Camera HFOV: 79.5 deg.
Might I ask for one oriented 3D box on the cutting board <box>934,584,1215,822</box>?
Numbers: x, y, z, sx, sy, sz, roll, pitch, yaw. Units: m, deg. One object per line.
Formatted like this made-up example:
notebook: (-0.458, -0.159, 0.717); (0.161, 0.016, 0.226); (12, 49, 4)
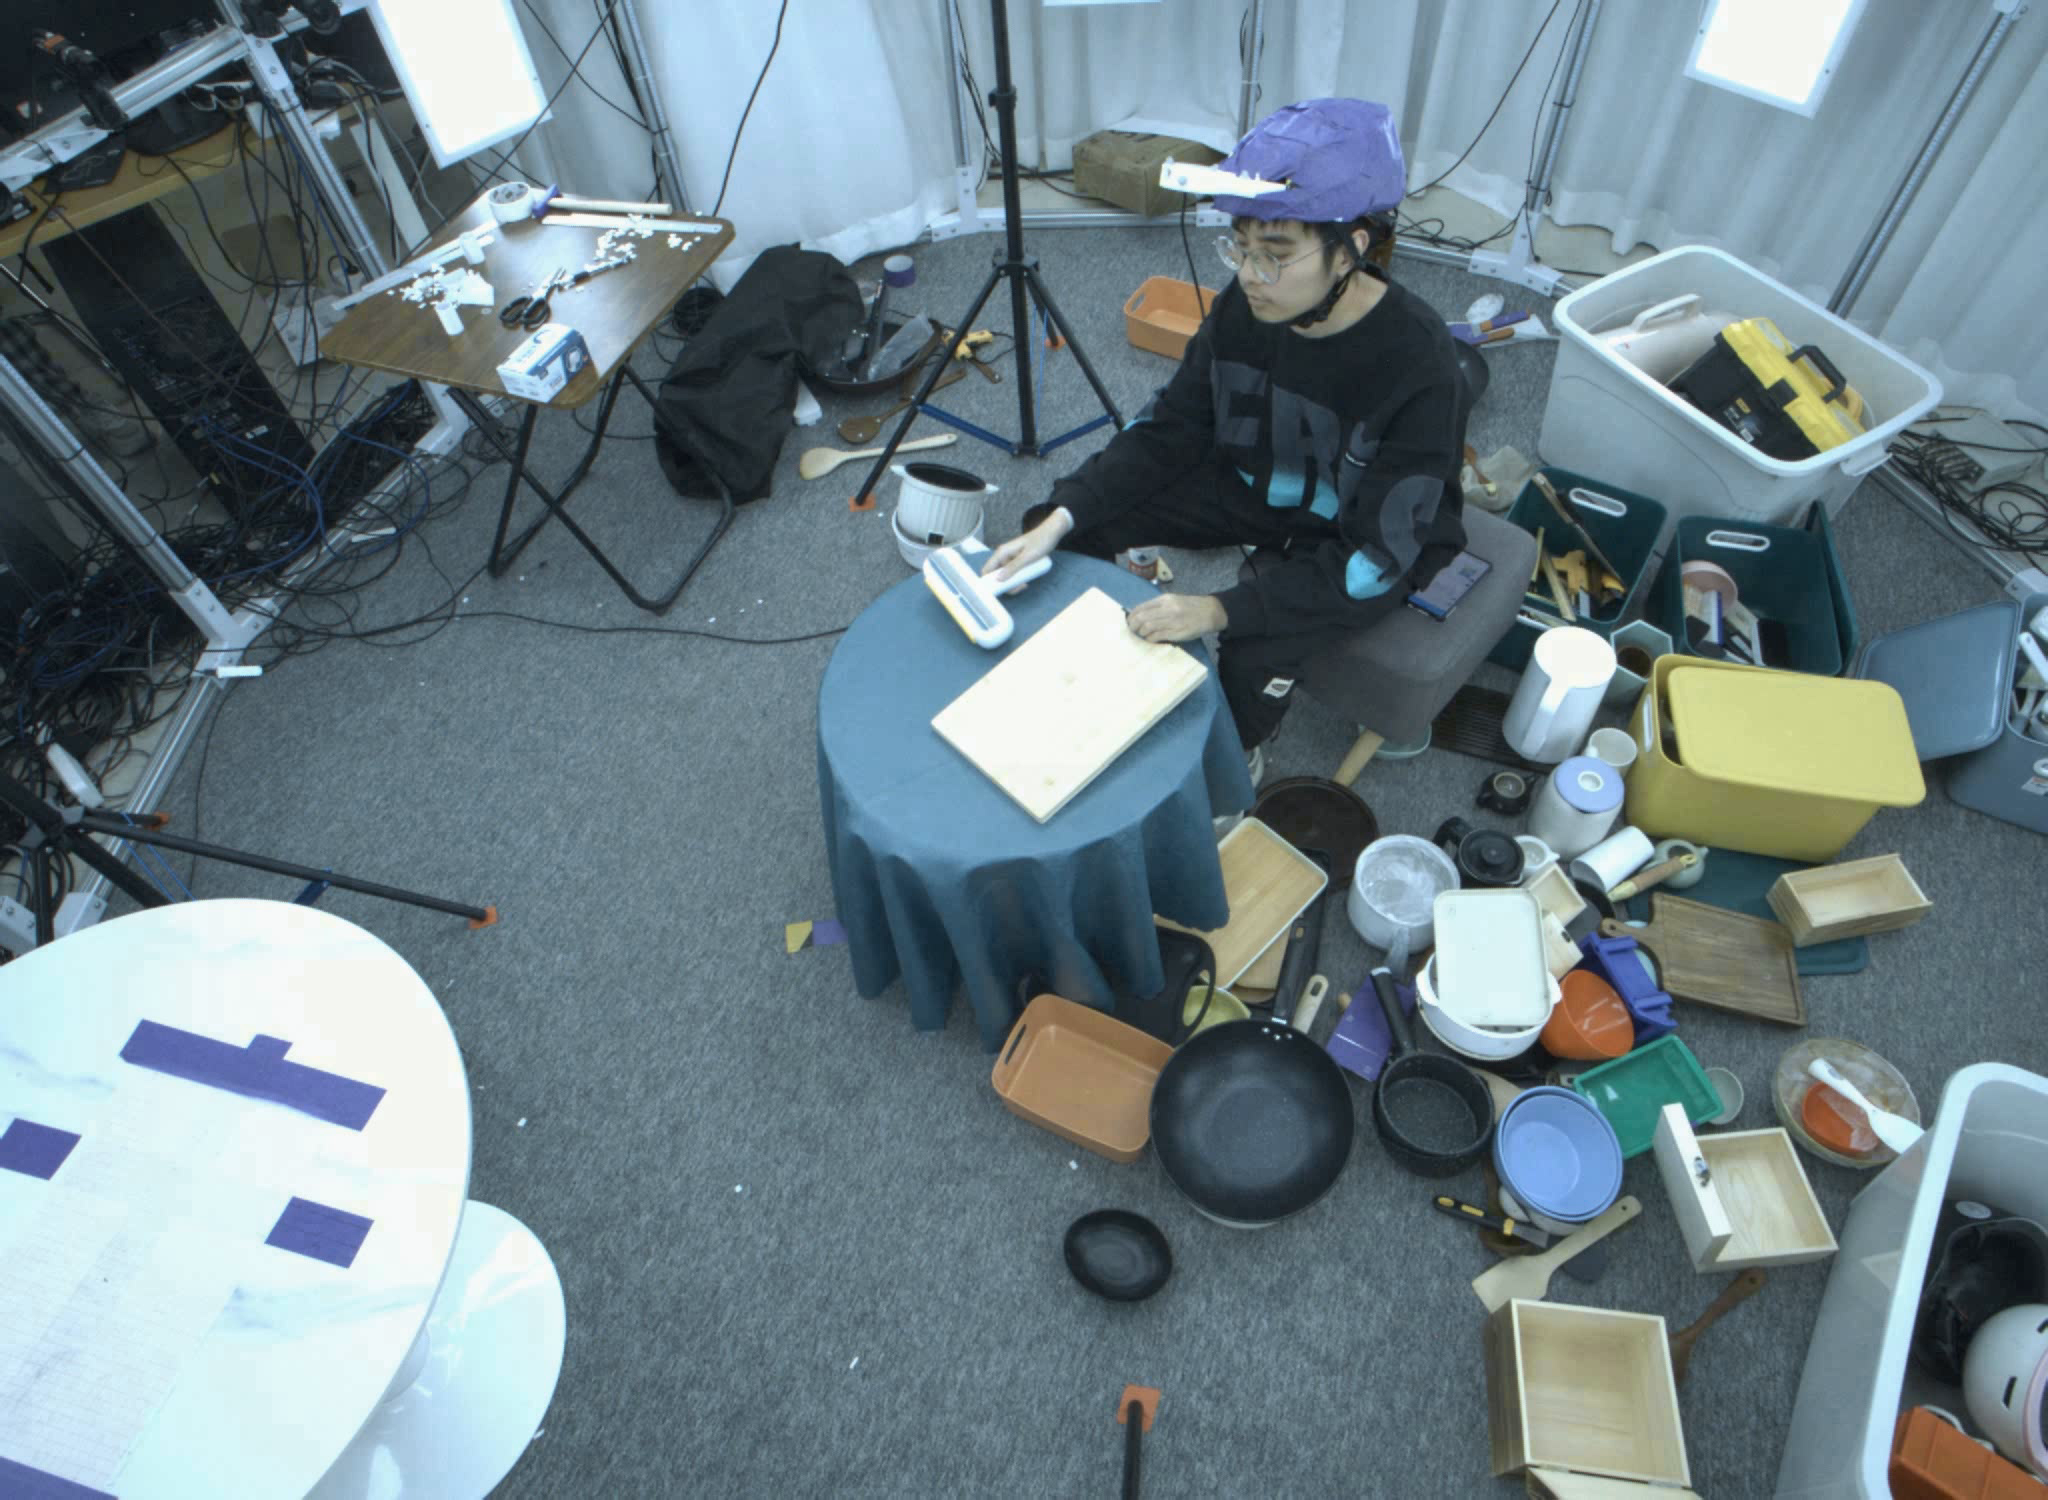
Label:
cutting board: (0.071, -0.078, 1.804); (0.350, 0.024, 0.246); (-42, 63, -17)

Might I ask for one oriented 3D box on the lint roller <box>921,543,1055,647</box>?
lint roller: (-0.040, -0.266, 1.921); (0.193, 0.075, 0.189); (-31, 63, -9)
